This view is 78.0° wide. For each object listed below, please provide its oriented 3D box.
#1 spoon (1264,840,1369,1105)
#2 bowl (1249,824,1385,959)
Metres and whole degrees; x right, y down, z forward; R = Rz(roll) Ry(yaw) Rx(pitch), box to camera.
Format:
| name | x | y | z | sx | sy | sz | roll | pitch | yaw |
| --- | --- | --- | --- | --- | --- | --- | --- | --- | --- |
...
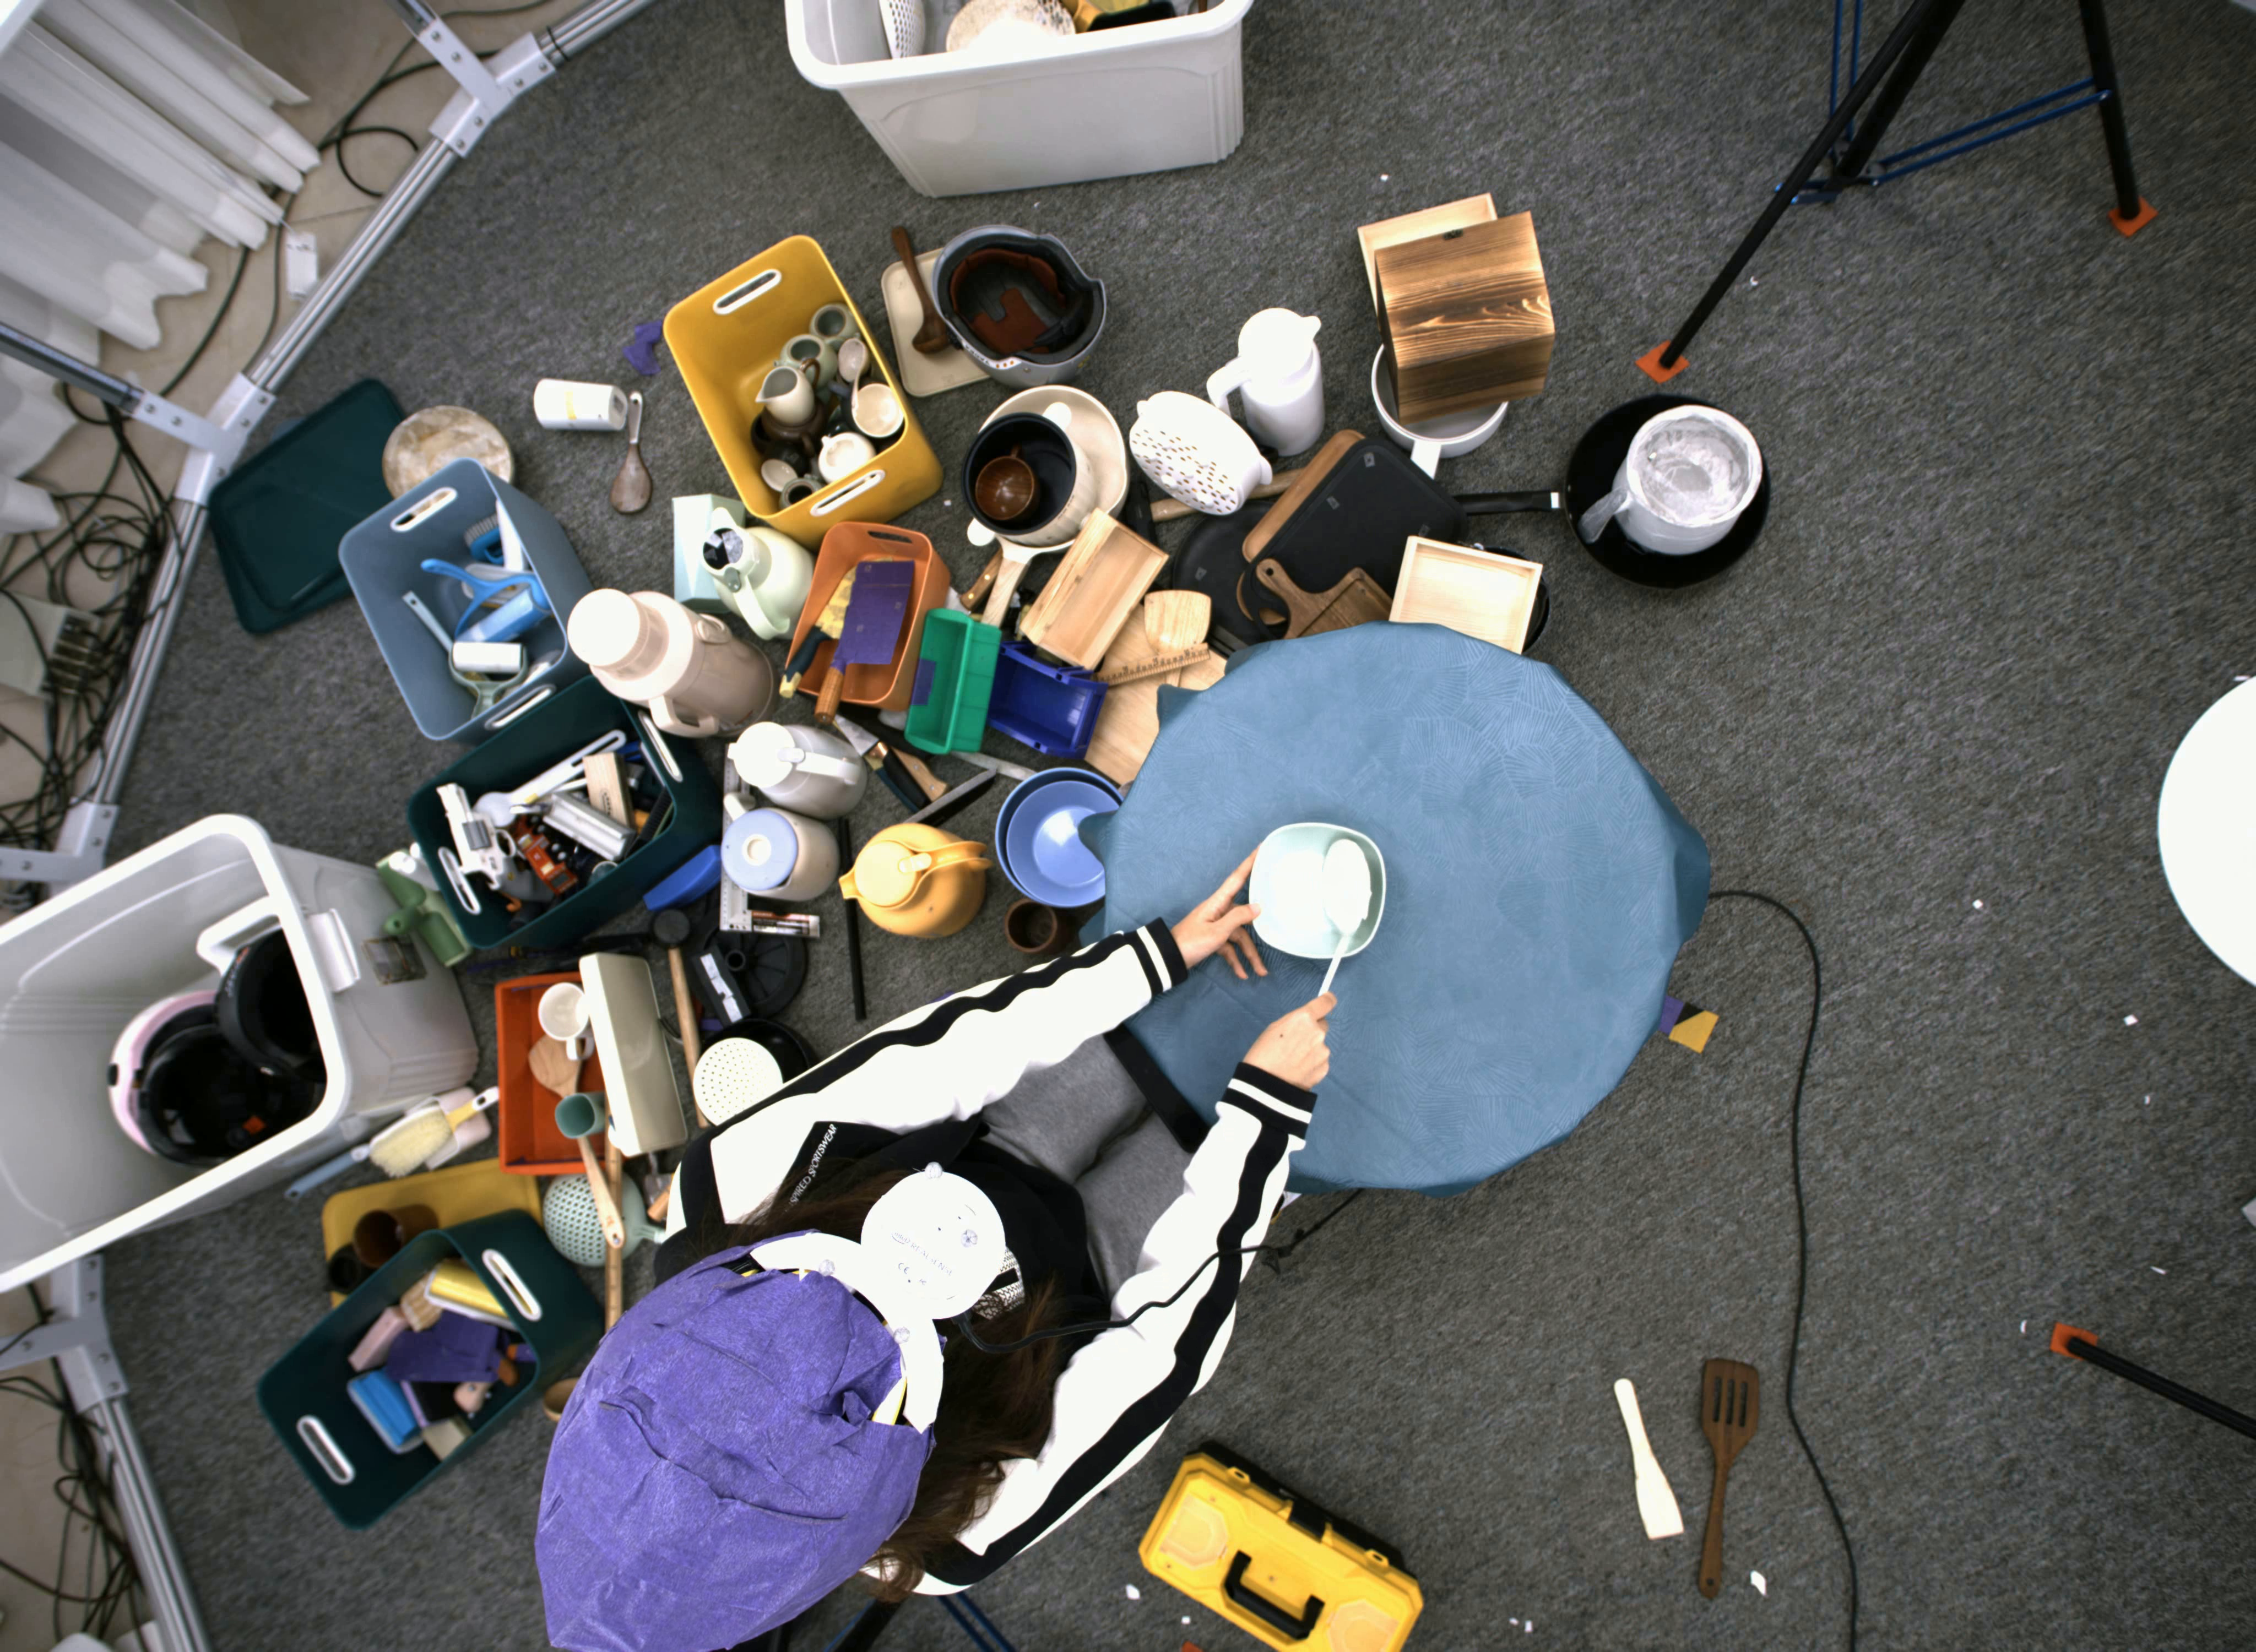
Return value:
| name | x | y | z | sx | sy | sz | roll | pitch | yaw |
| --- | --- | --- | --- | --- | --- | --- | --- | --- | --- |
| spoon | 0.176 | 0.144 | 1.395 | 0.059 | 0.102 | 0.273 | 30 | 74 | -5 |
| bowl | 0.198 | 0.069 | 1.448 | 0.152 | 0.058 | 0.151 | -1 | 87 | 11 |
